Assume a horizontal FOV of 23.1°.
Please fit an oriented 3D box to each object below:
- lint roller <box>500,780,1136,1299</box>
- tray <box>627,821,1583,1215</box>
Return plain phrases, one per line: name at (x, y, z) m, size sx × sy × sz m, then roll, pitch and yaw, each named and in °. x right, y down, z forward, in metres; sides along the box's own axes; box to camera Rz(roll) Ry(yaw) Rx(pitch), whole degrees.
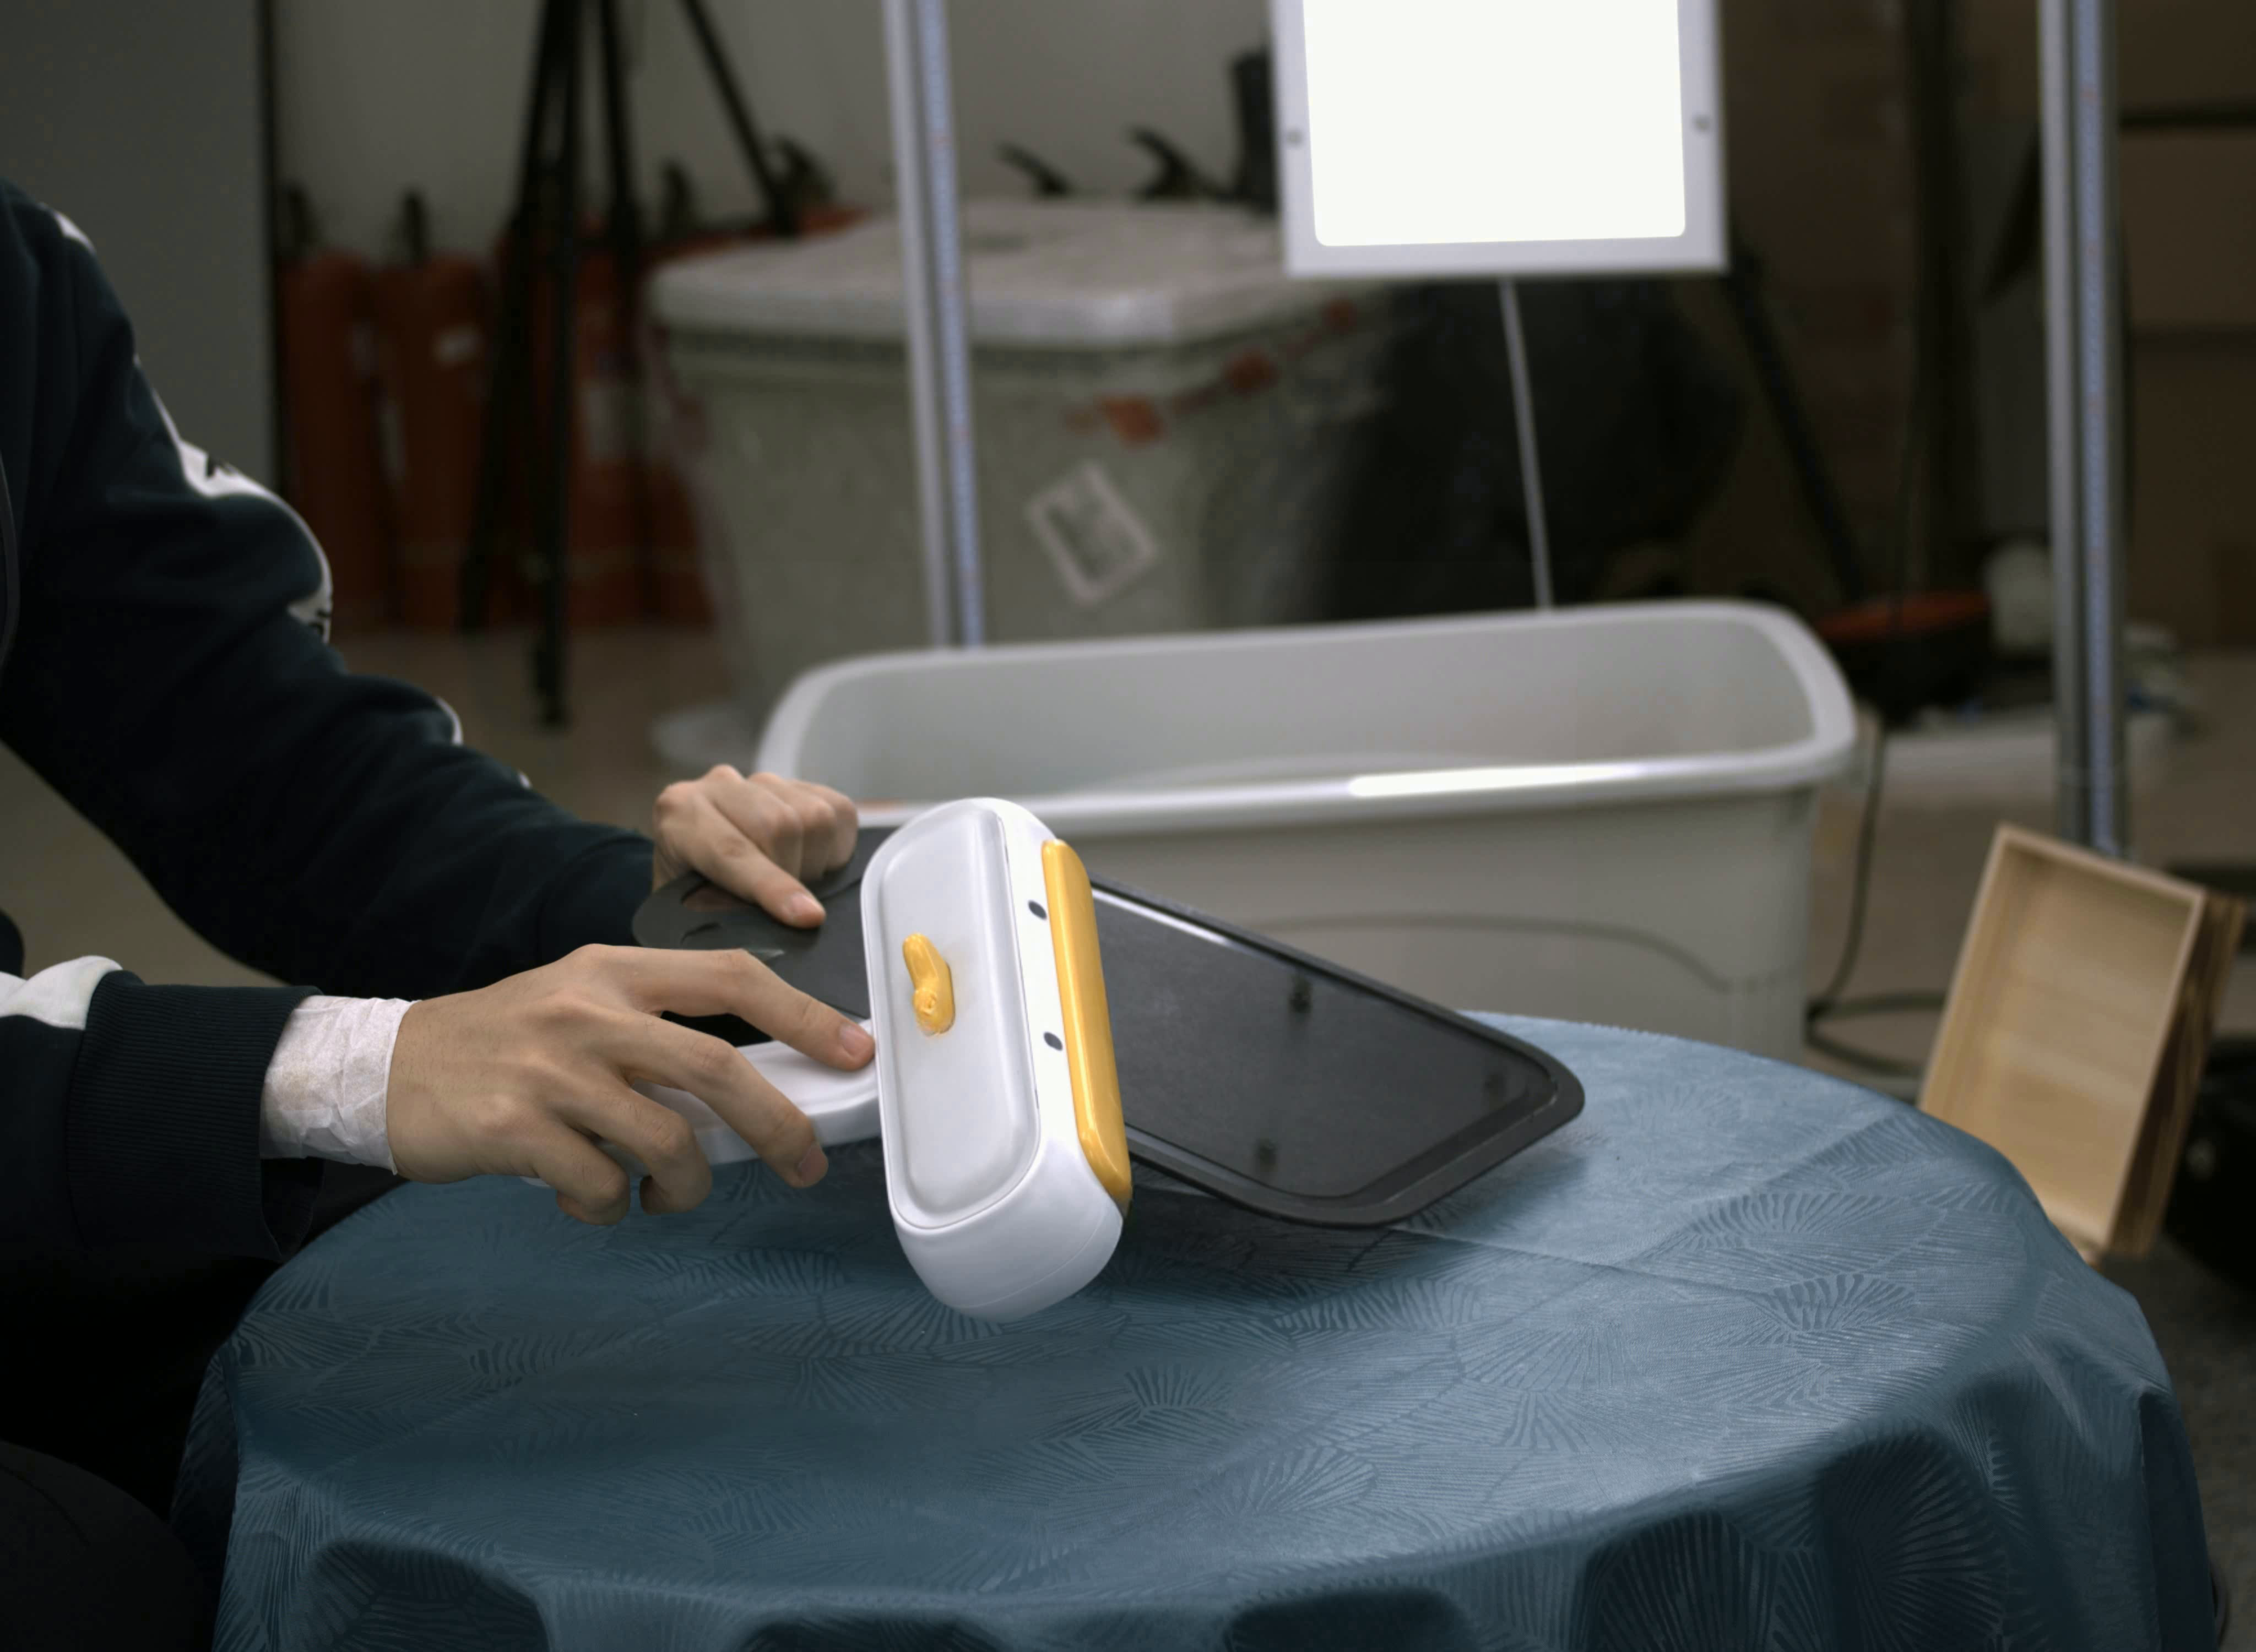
lint roller at (-0.100, 0.082, 1.718) m, size 0.193 × 0.073 × 0.193 m, roll -23°, pitch 46°, yaw 10°
tray at (-0.015, 0.059, 1.914) m, size 0.330 × 0.010 × 0.206 m, roll 20°, pitch 23°, yaw 27°
